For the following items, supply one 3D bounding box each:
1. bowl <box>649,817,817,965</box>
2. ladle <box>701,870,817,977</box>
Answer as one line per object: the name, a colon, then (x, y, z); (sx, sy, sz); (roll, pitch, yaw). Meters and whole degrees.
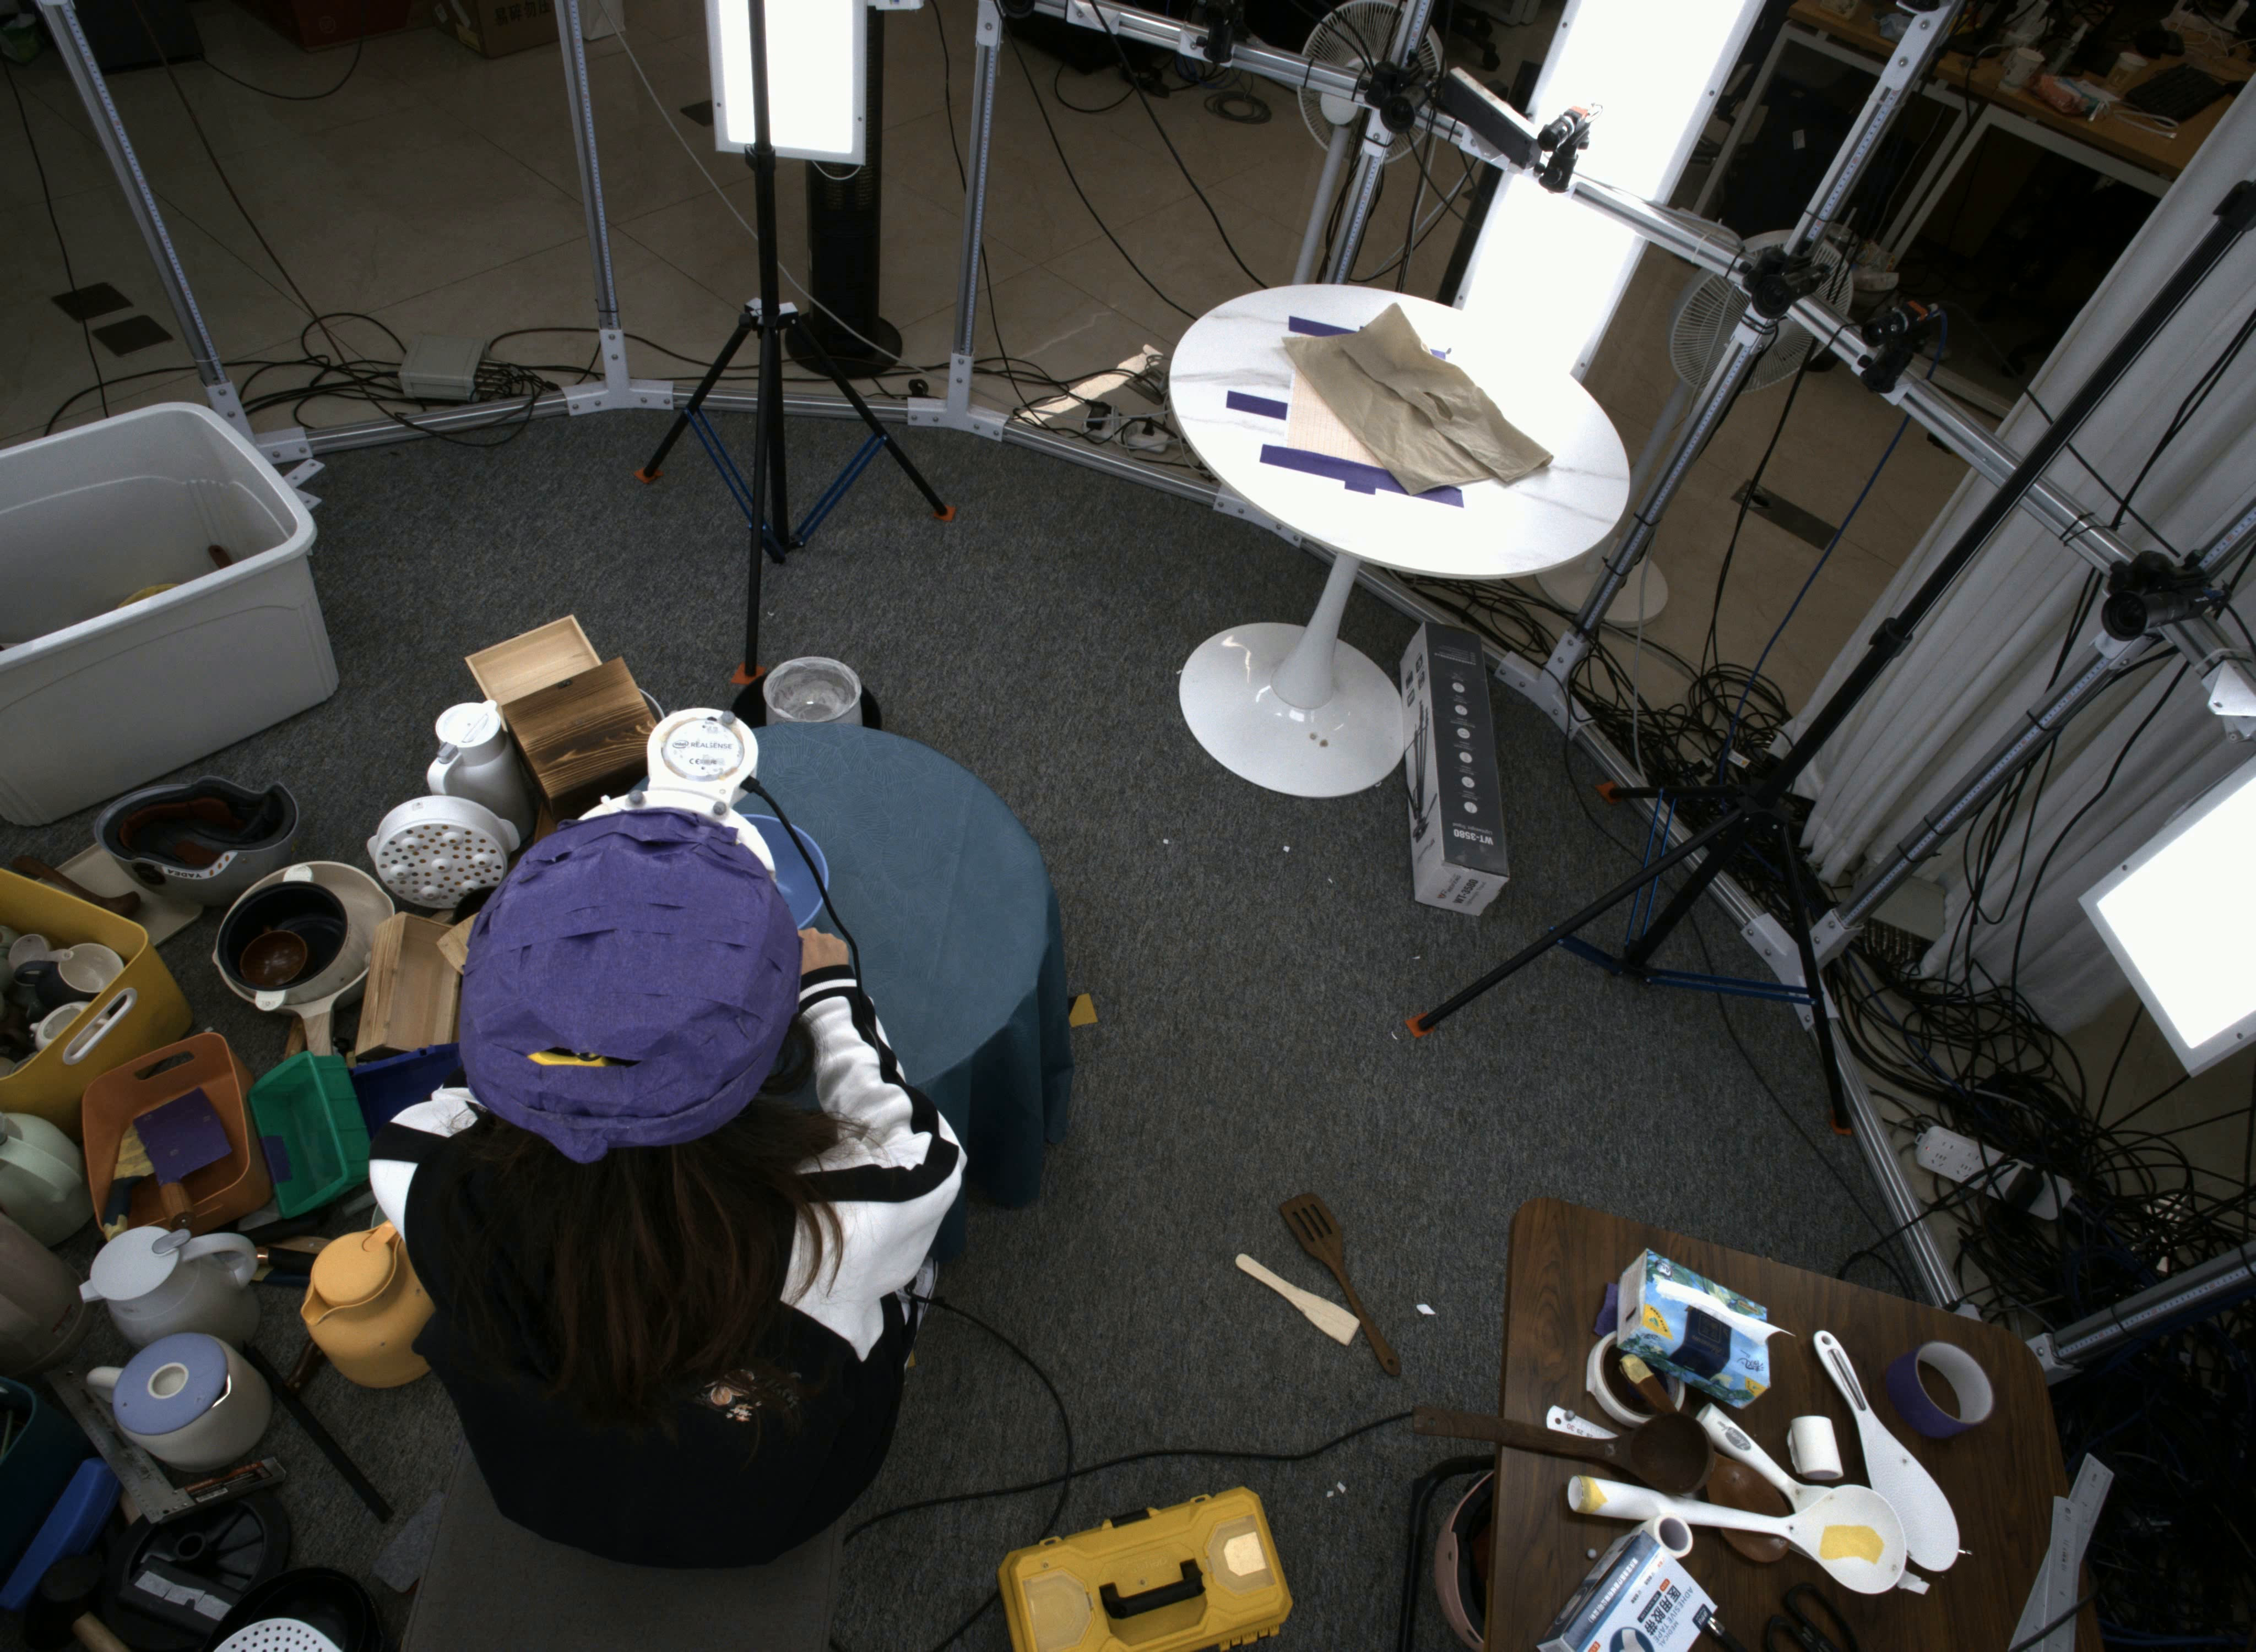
bowl: (-0.477, 0.092, 1.573); (0.196, 0.097, 0.193); (8, 49, -7)
ladle: (-0.423, 0.131, 1.515); (0.072, 0.075, 0.245); (-27, 46, -31)
